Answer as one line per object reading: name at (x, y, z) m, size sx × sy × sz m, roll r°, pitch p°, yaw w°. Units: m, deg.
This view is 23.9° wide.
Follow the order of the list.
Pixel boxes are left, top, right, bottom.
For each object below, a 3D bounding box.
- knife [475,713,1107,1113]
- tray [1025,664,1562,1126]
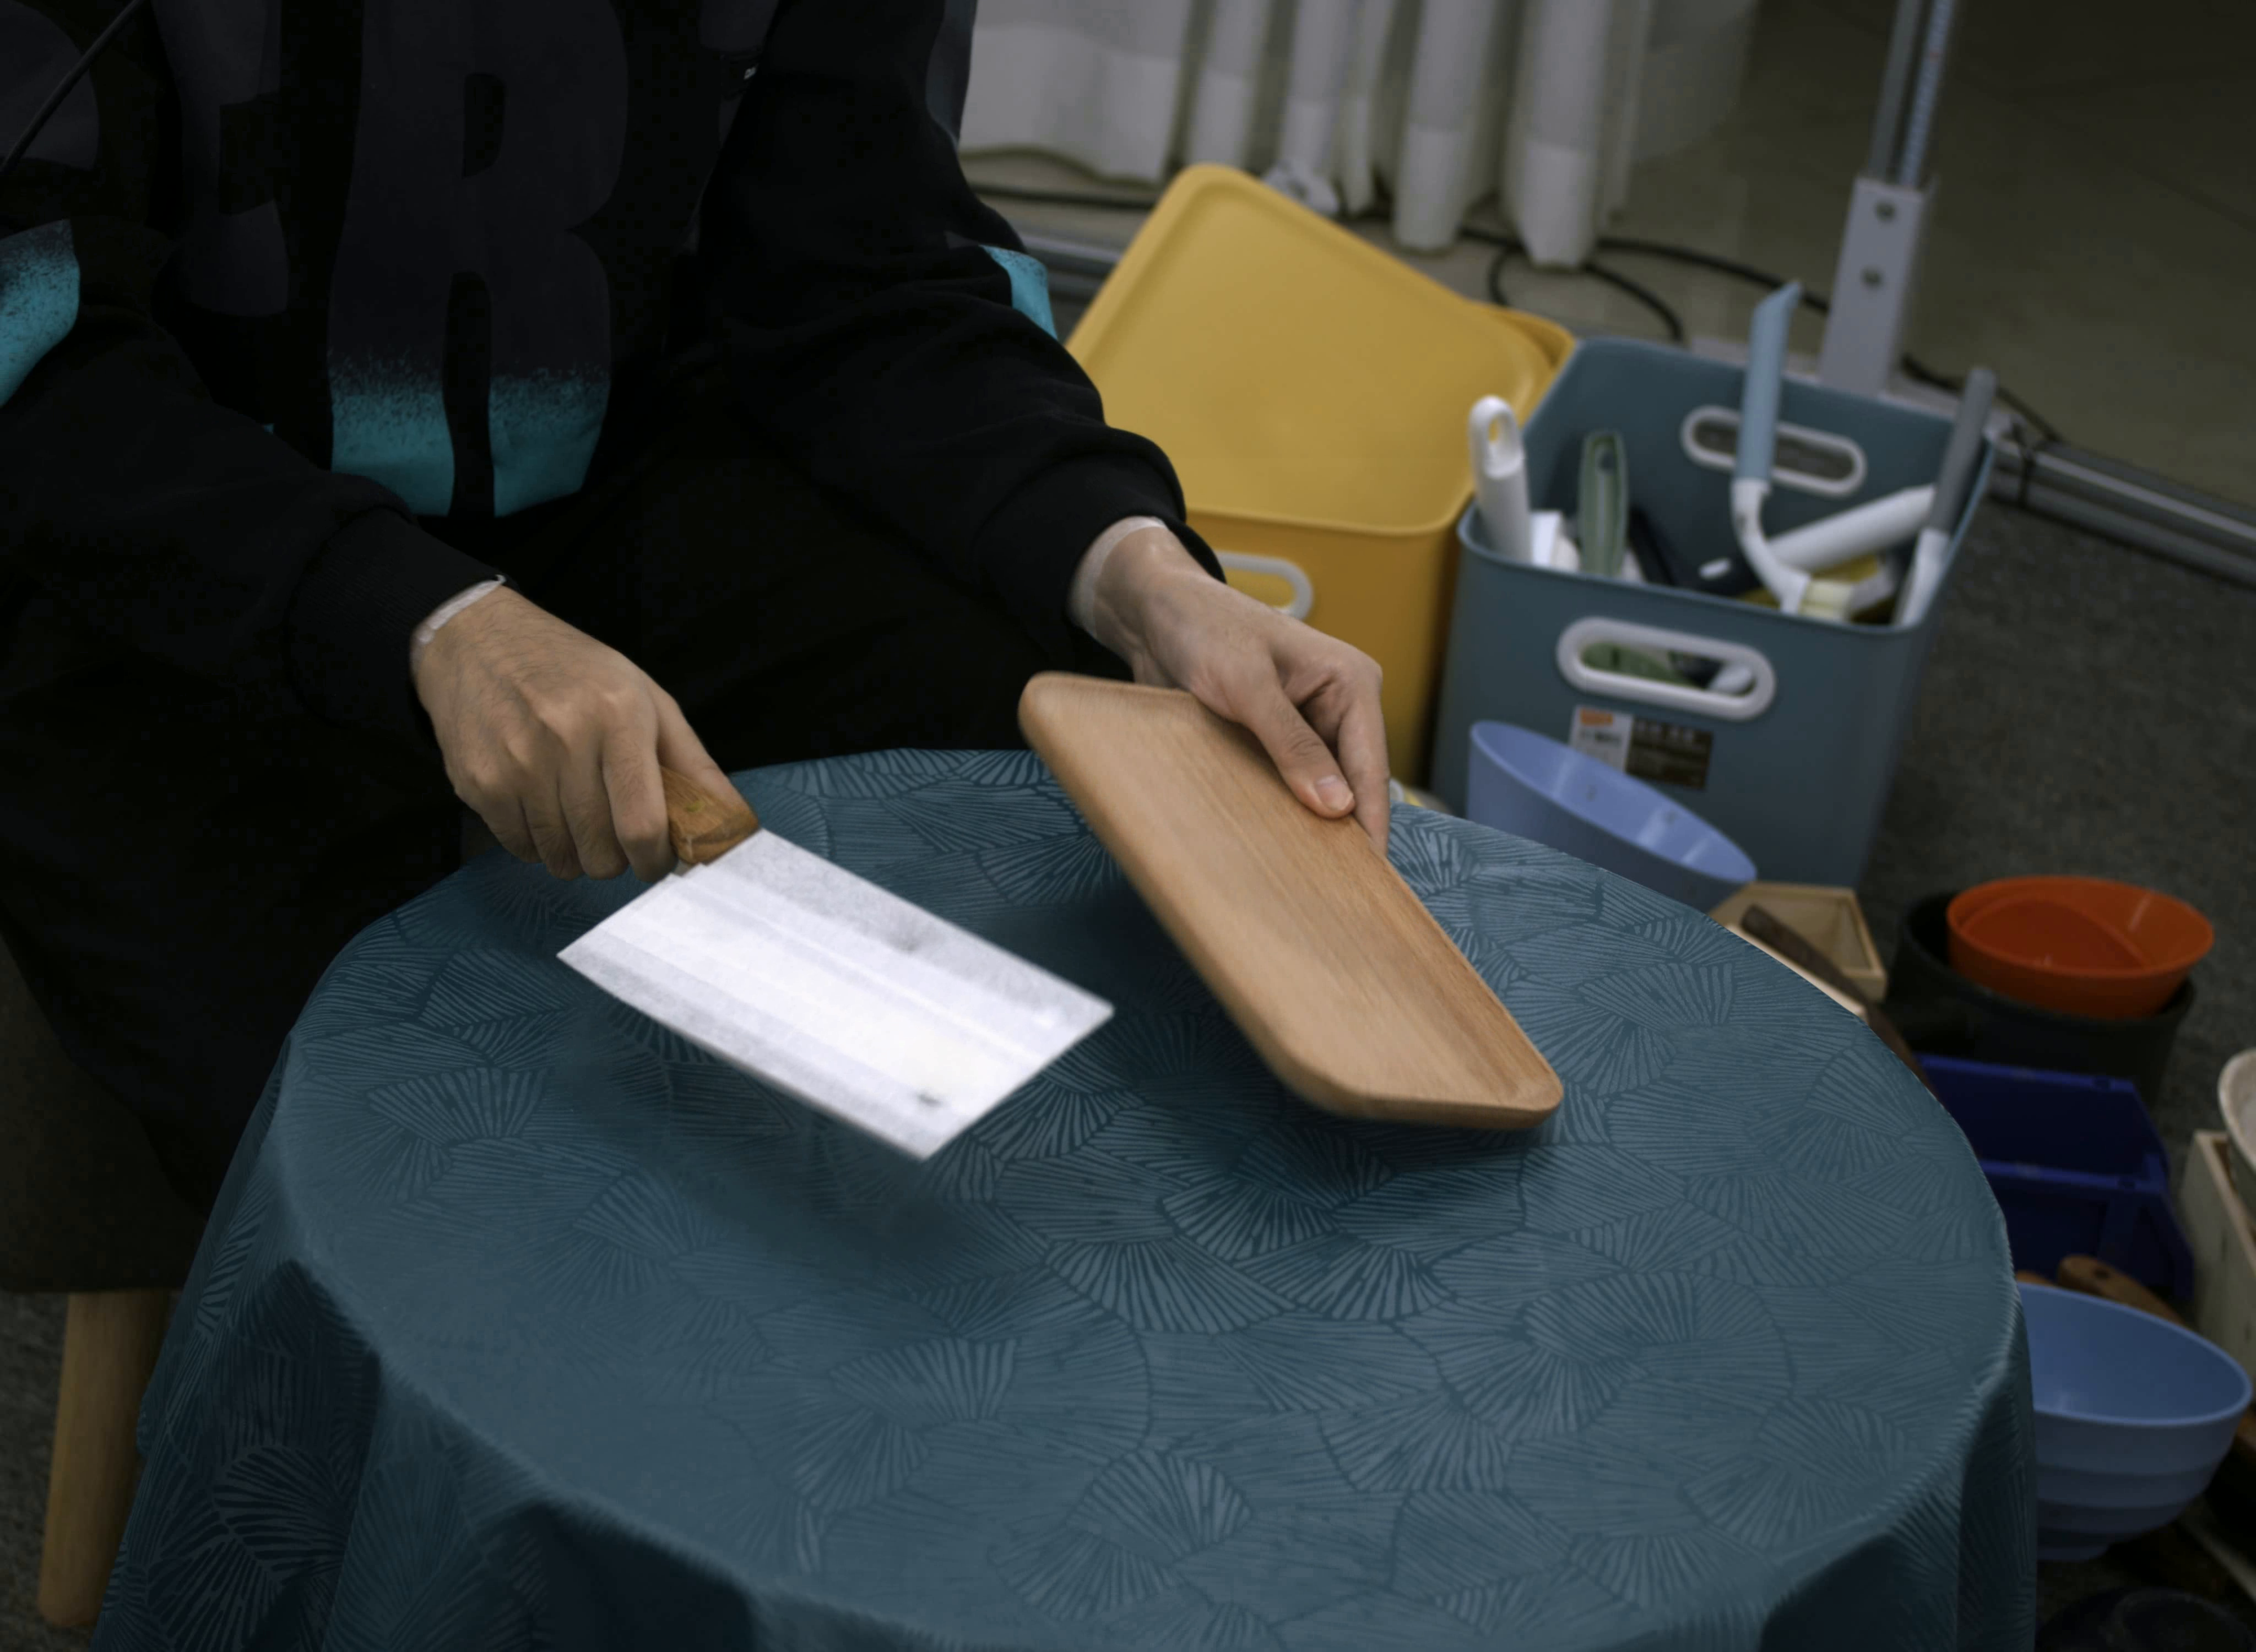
knife at (-0.139, 0.031, 1.826) m, size 0.308 × 0.021 × 0.093 m, roll 24°, pitch 51°, yaw 41°
tray at (0.056, 0.024, 1.908) m, size 0.129 × 0.023 × 0.253 m, roll 14°, pitch 27°, yaw -37°
